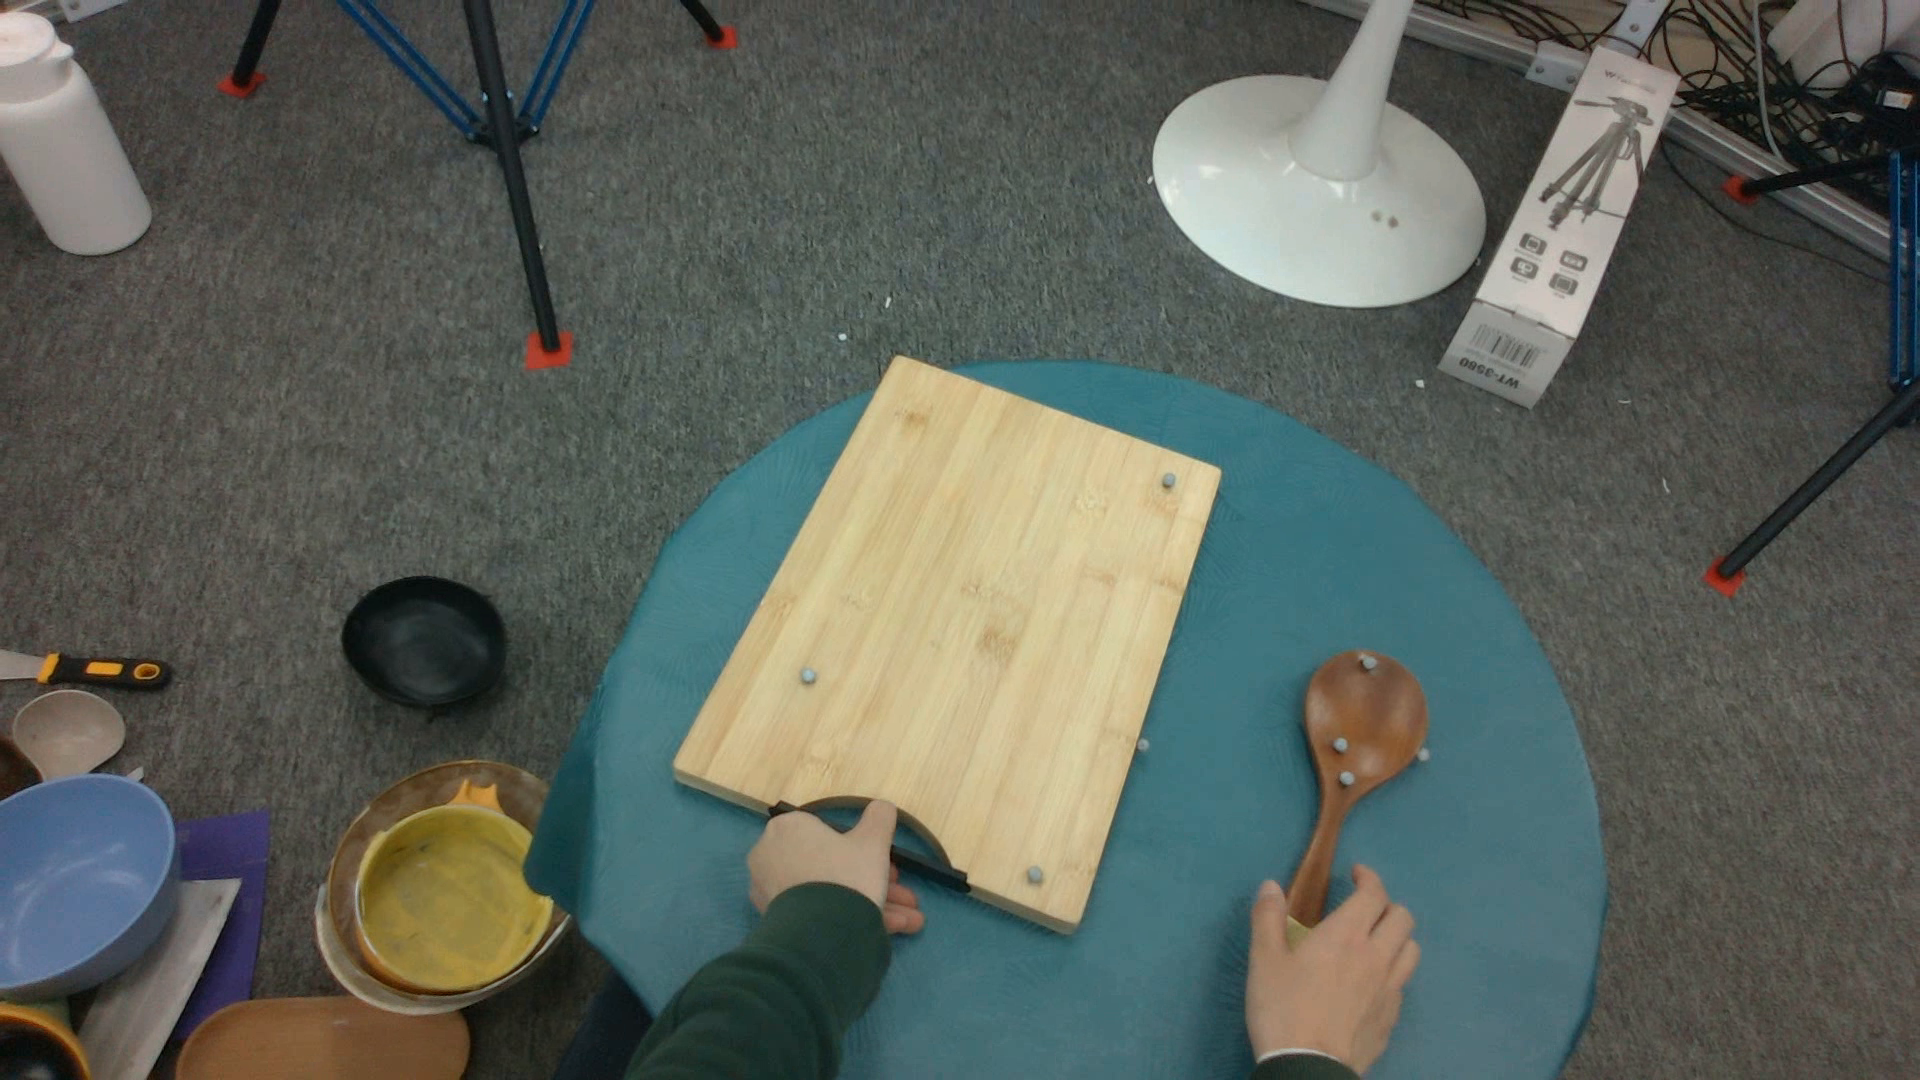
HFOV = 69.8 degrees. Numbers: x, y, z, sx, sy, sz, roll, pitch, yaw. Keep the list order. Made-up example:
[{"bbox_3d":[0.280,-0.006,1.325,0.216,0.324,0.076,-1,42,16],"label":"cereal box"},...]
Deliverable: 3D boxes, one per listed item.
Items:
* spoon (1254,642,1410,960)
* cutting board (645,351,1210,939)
[{"bbox_3d":[0.212,0.148,0.807,0.075,0.017,0.217,25,54,7],"label":"spoon"},{"bbox_3d":[-0.002,0.043,0.847,0.250,0.023,0.350,19,54,5],"label":"cutting board"}]
